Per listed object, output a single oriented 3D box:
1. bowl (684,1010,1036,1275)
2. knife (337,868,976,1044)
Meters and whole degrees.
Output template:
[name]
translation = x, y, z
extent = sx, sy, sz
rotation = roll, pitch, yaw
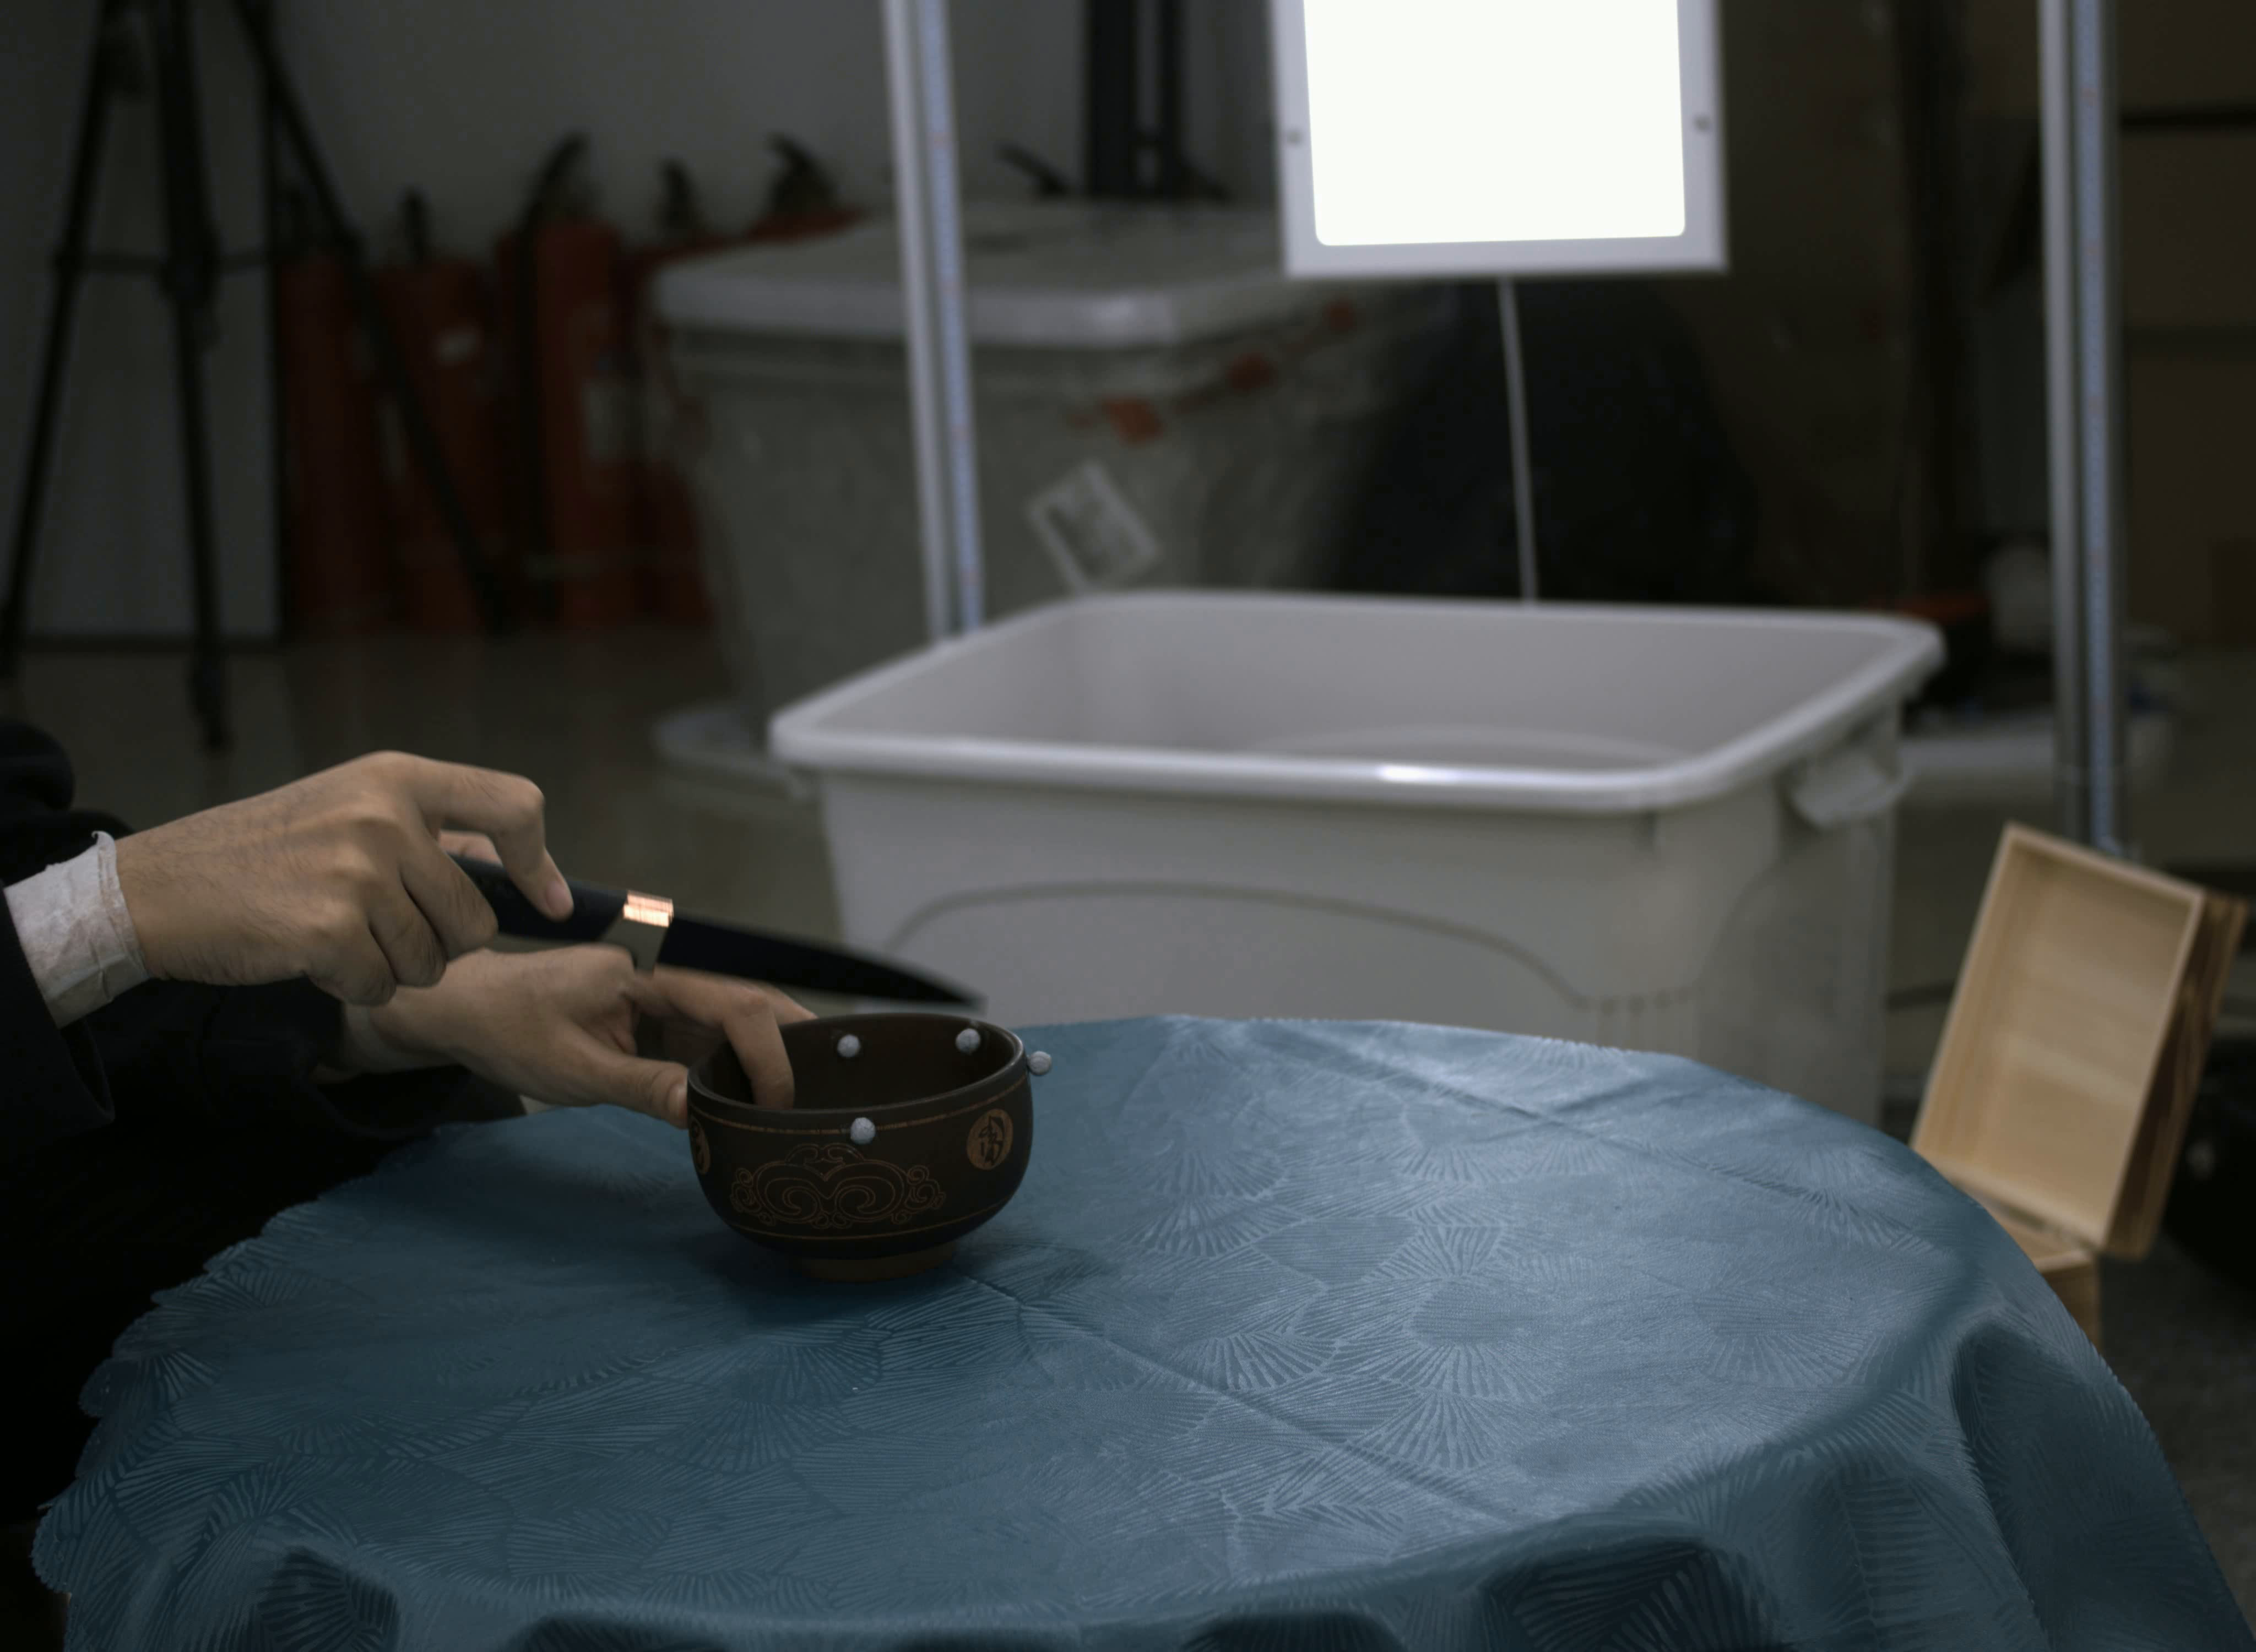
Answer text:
[bowl]
translation = -0.088, 0.109, 1.843
extent = 0.118, 0.070, 0.118
rotation = -6, 12, 0
[knife]
translation = -0.153, 0.045, 1.819
extent = 0.222, 0.017, 0.026
rotation = 14, -14, -15
